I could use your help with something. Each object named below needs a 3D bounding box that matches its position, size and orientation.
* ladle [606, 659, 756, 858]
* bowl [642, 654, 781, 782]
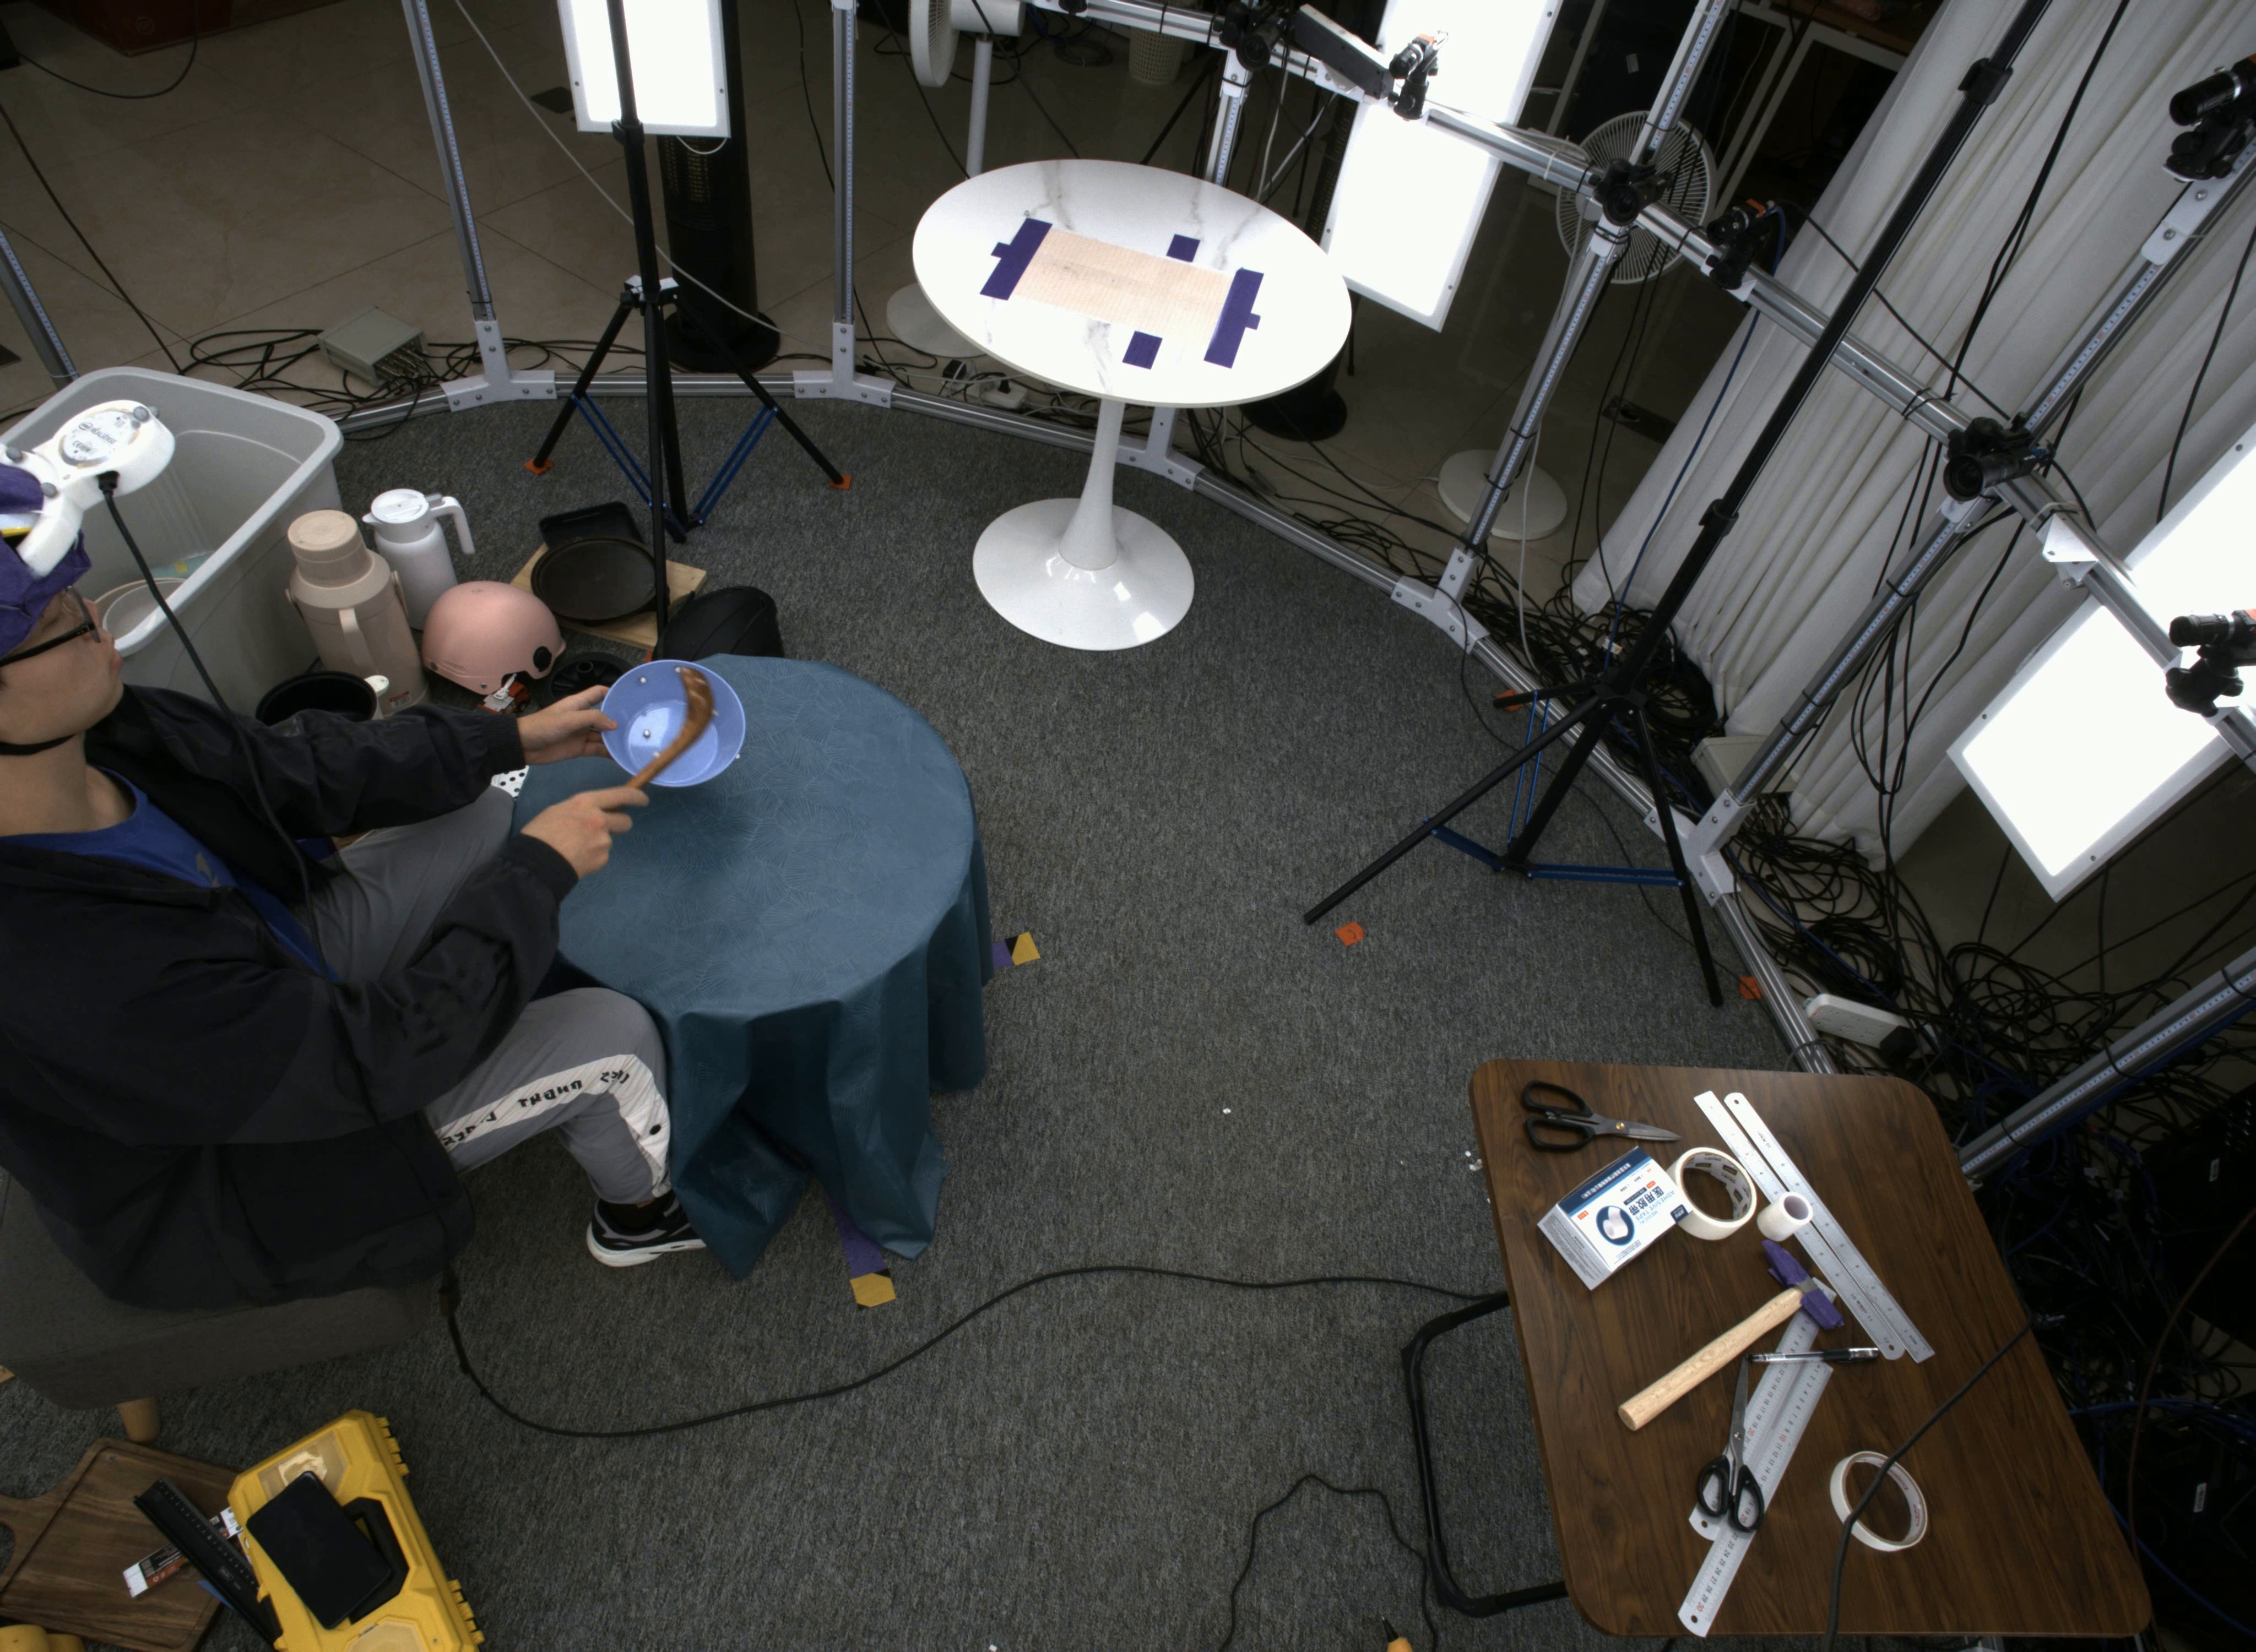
[{"bbox_3d":[-0.535,-0.086,1.507,0.075,0.083,0.274,35,65,12],"label":"ladle"},{"bbox_3d":[-0.538,-0.128,1.662,0.177,0.070,0.175,8,69,-19],"label":"bowl"}]
